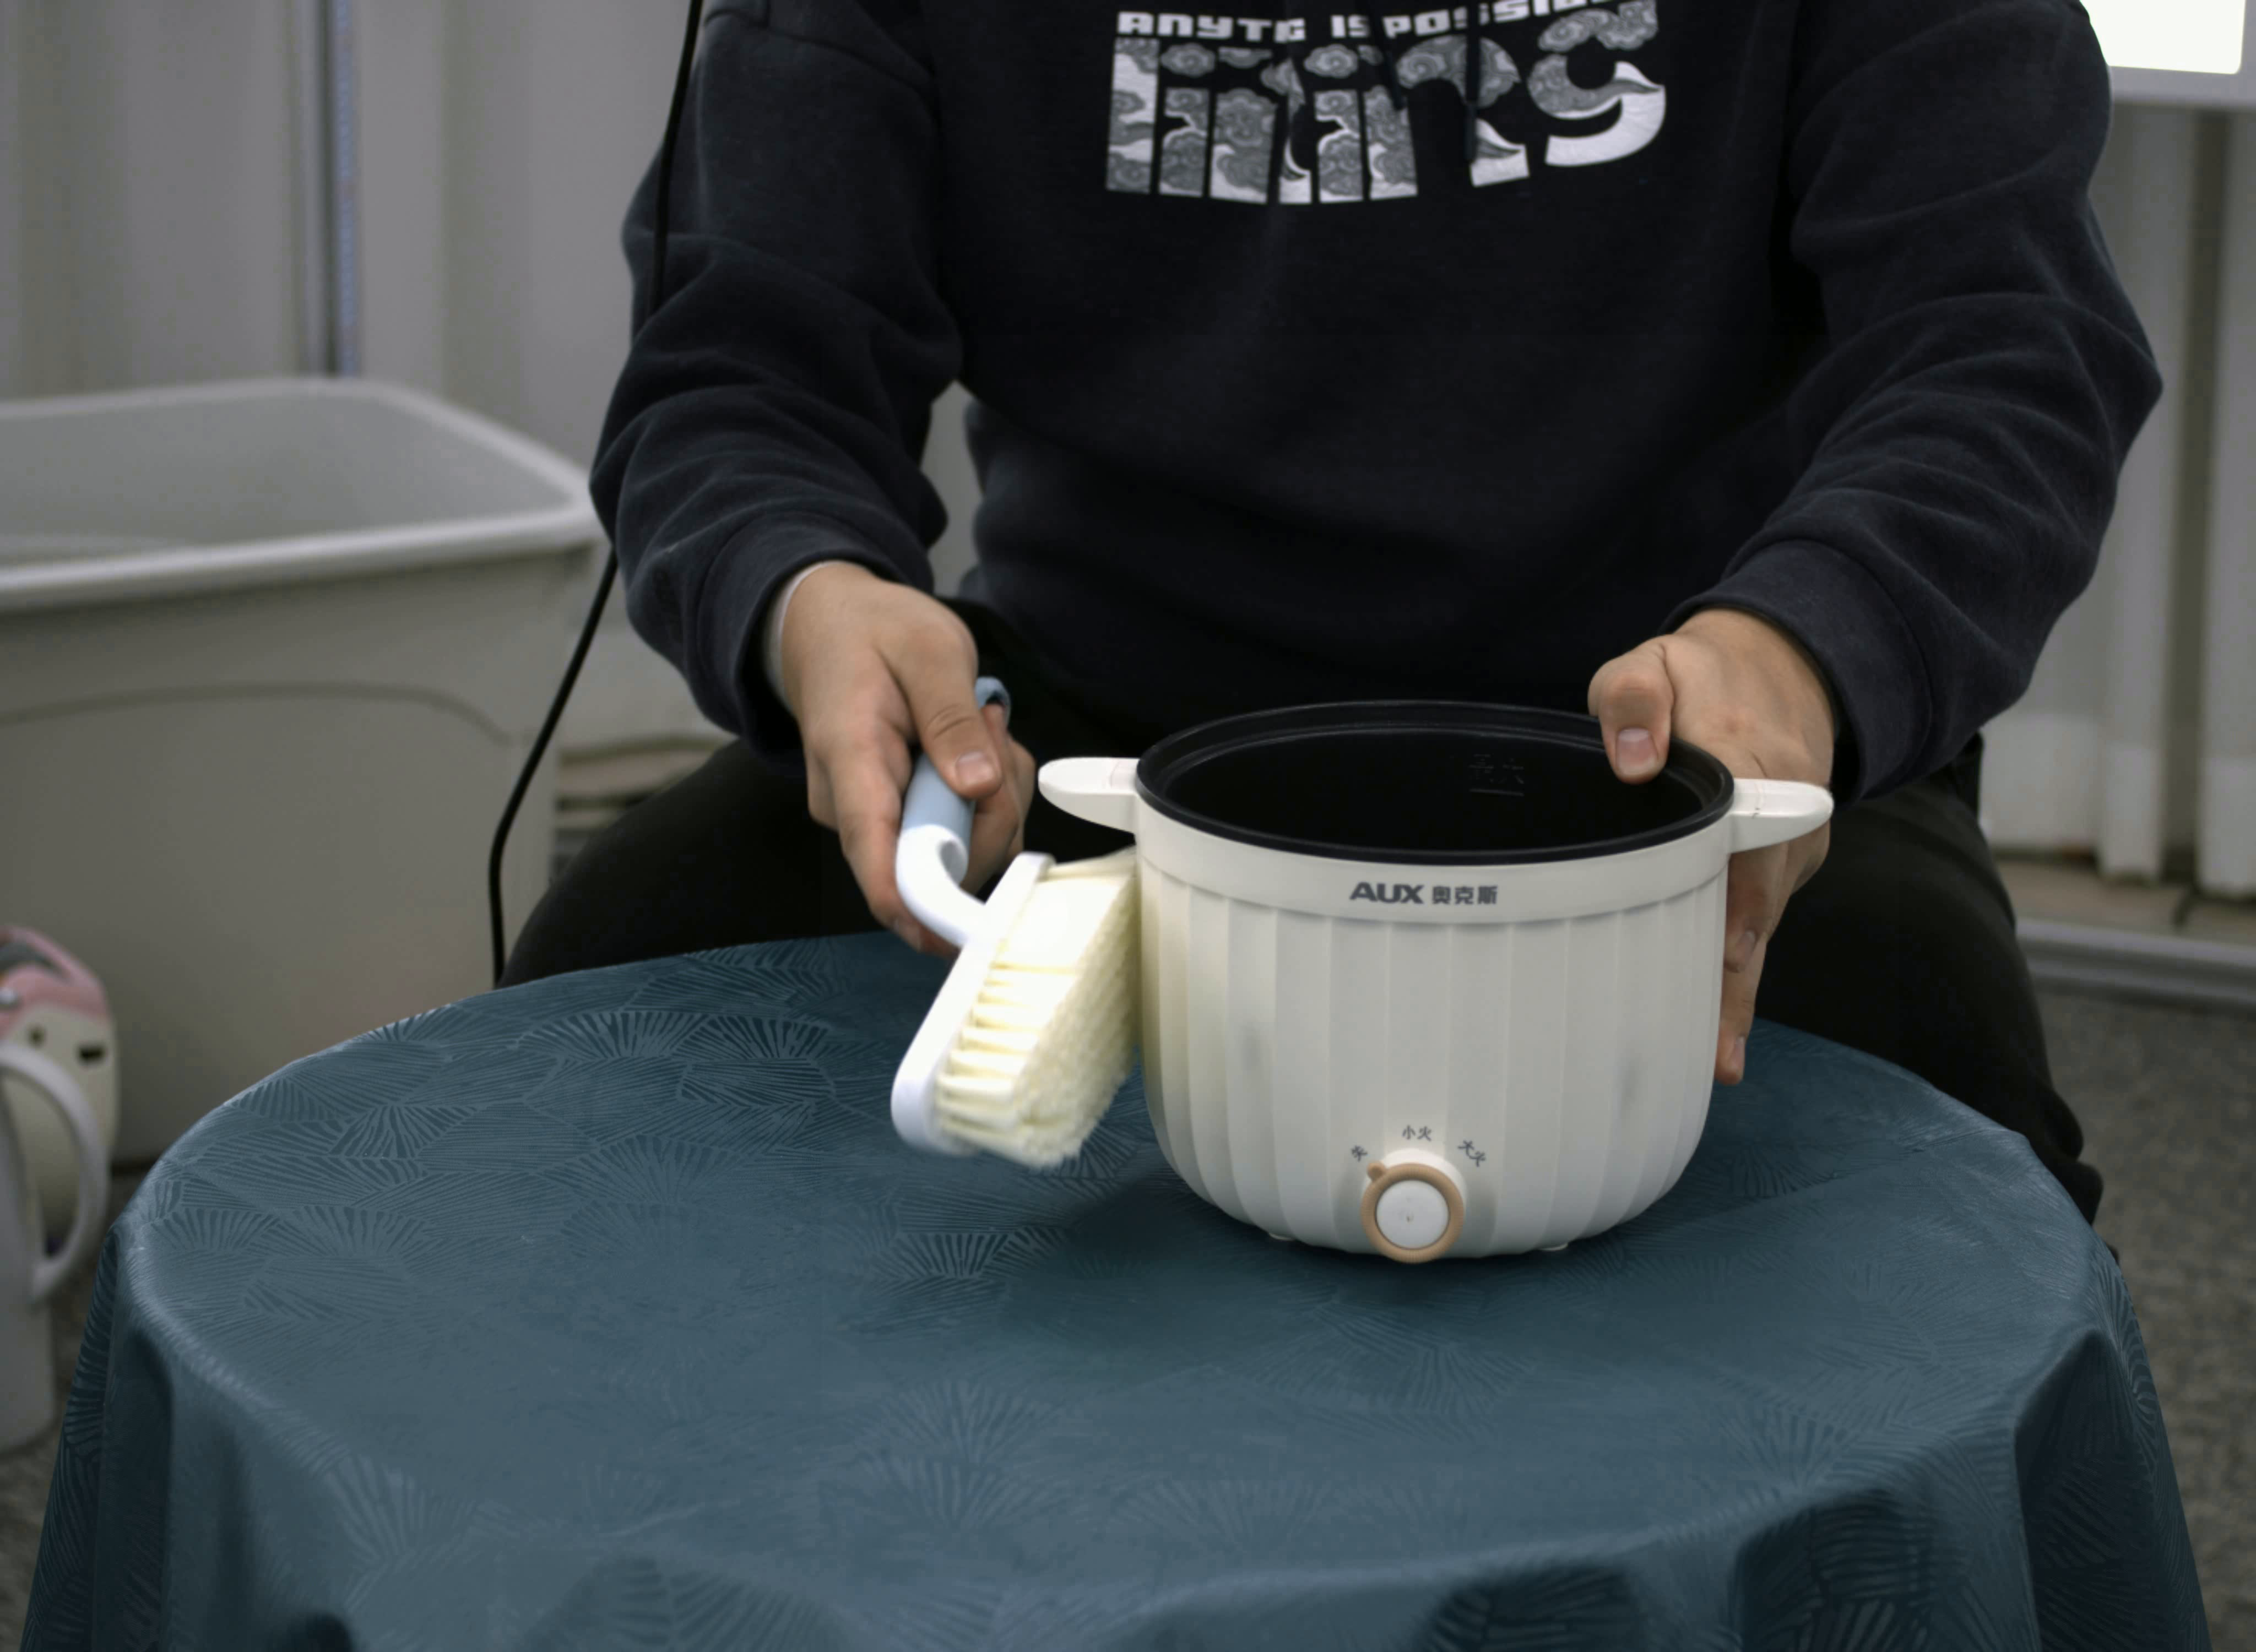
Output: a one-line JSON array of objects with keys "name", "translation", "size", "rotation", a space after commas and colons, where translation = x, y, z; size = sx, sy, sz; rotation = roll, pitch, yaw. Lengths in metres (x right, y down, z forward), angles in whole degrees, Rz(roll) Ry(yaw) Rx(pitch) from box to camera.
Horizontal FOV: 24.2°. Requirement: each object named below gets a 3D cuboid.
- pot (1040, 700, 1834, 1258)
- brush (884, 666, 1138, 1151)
[{"name": "pot", "translation": [0.092, 0.049, 1.600], "size": [0.239, 0.143, 0.190], "rotation": [1, 13, 4]}, {"name": "brush", "translation": [-0.025, 0.013, 1.661], "size": [0.085, 0.083, 0.323], "rotation": [35, 20, -12]}]
